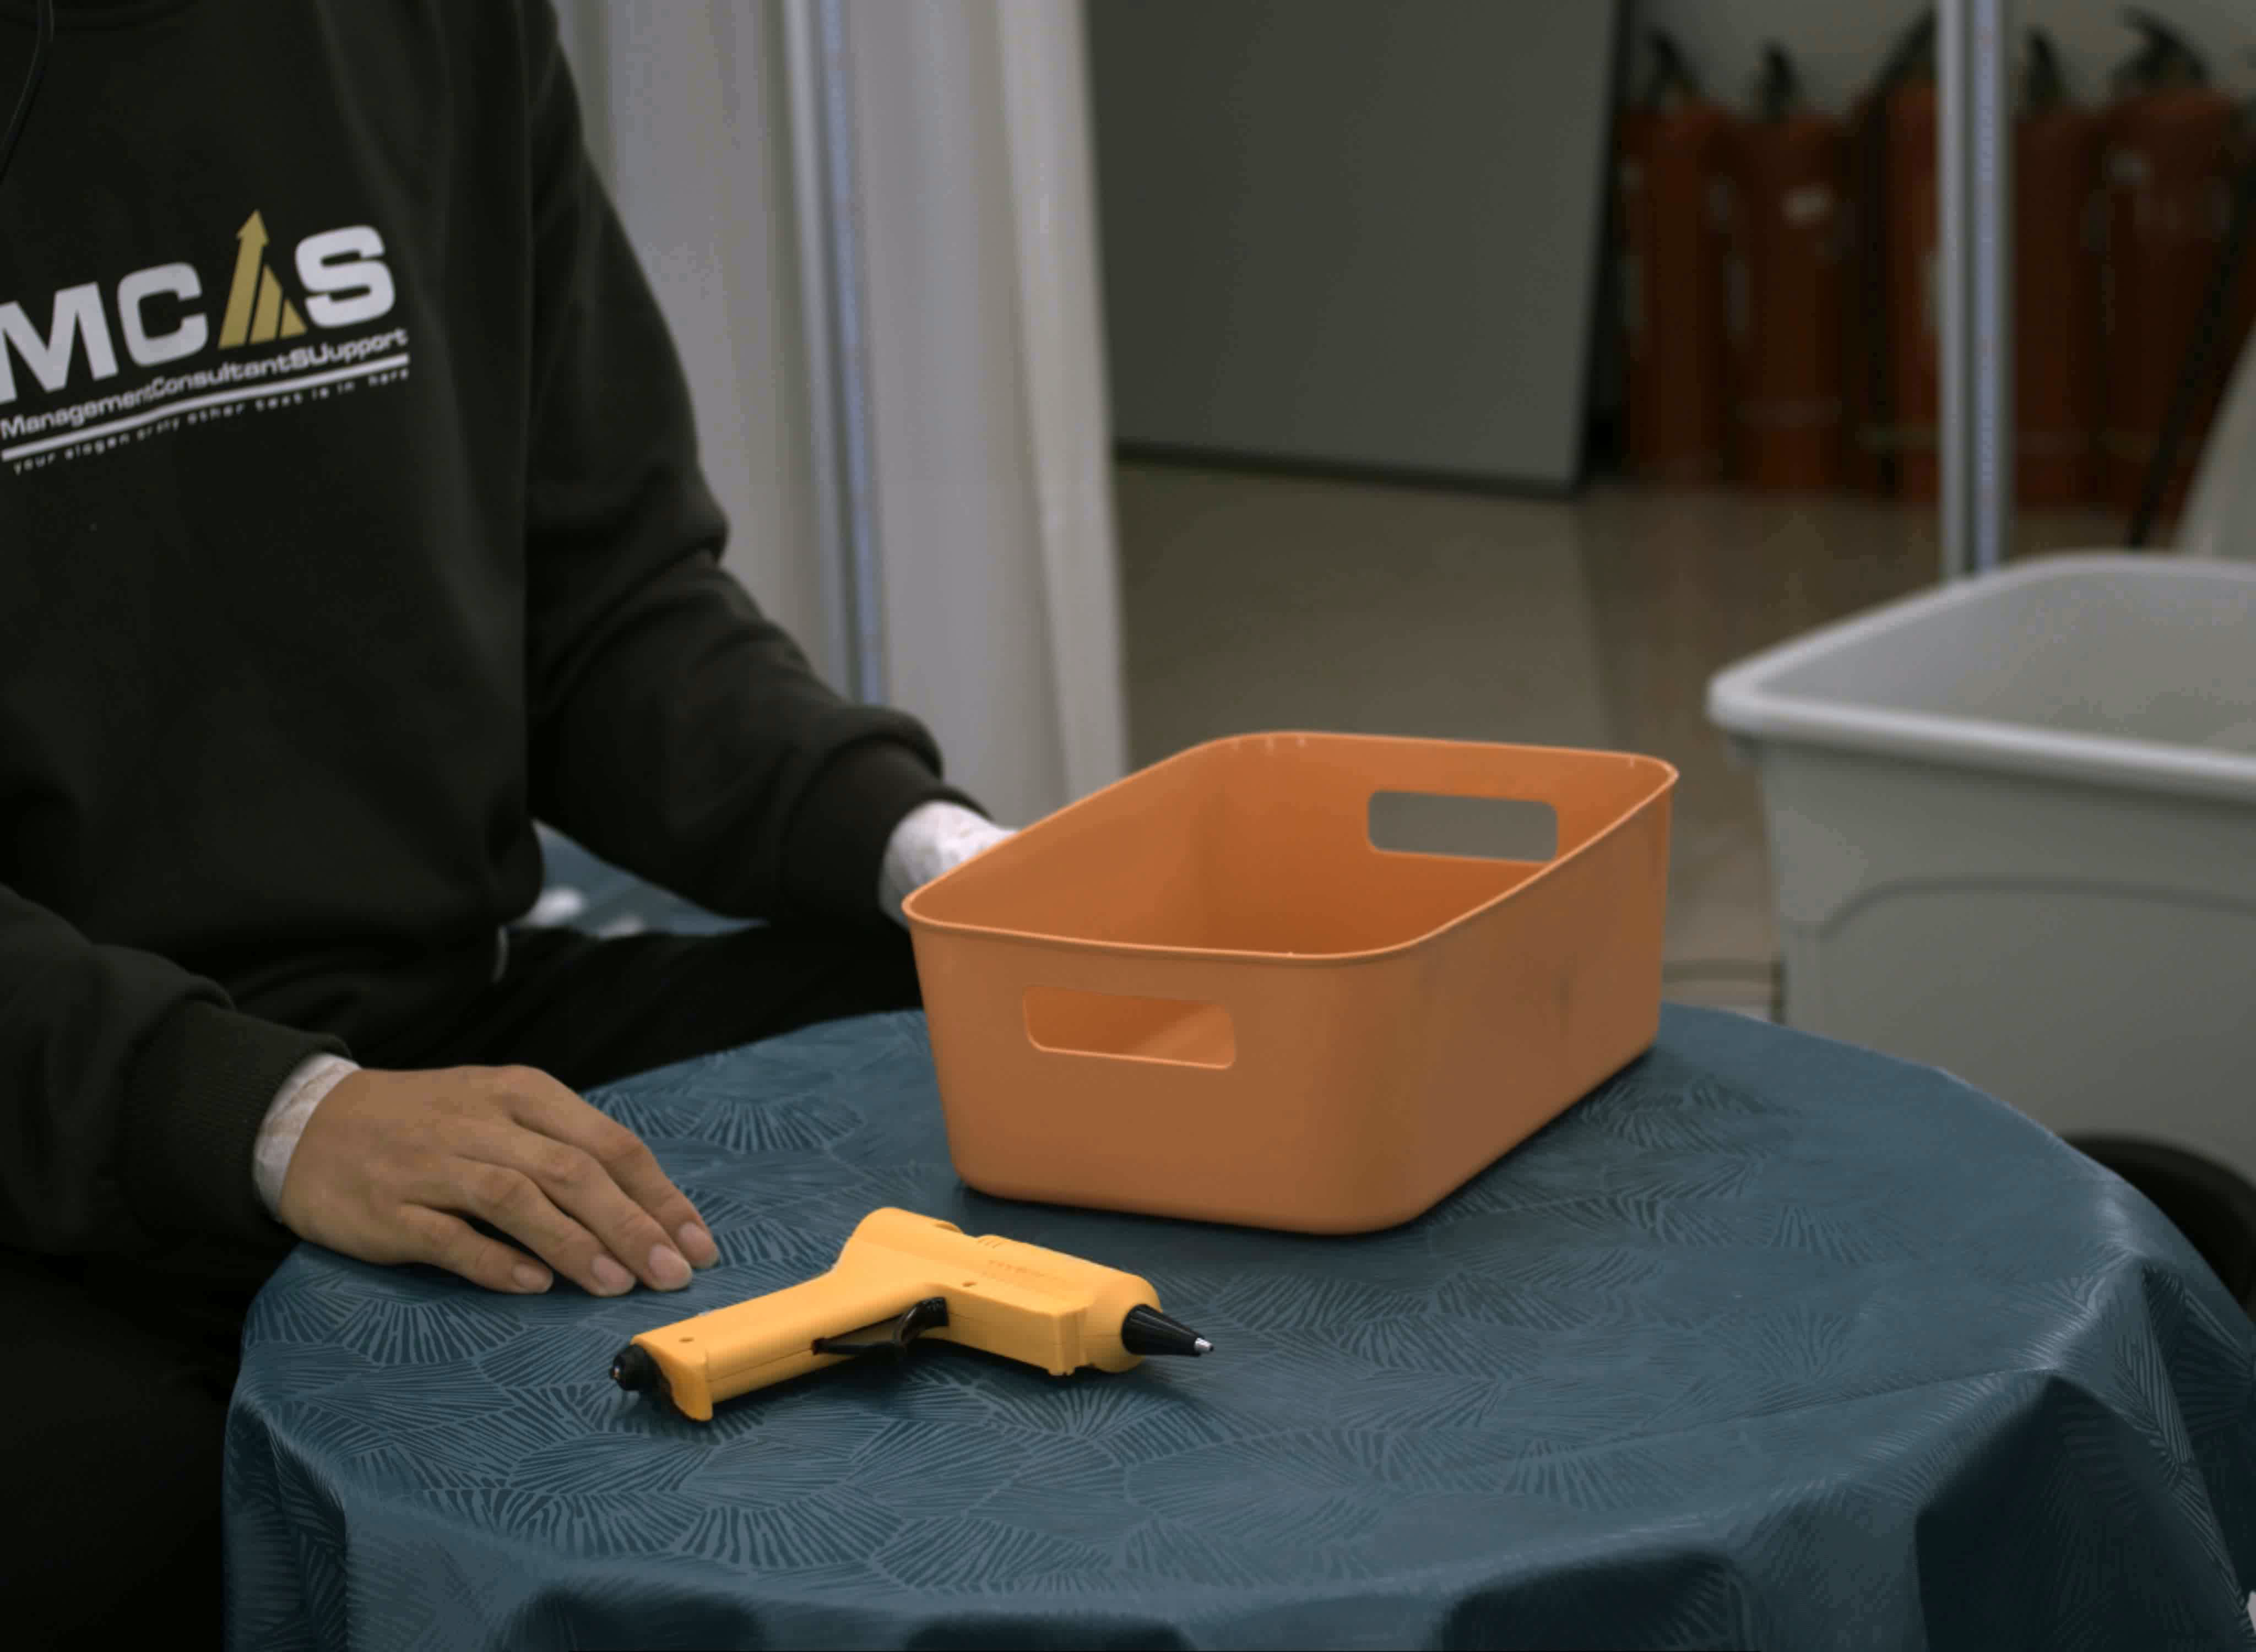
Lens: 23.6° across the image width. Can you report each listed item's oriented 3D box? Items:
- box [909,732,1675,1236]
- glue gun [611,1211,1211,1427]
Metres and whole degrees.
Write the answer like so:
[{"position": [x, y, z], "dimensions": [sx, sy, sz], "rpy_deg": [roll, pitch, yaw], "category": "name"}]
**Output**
[{"position": [0.061, 0.051, 1.832], "dimensions": [0.200, 0.103, 0.269], "rpy_deg": [3, 16, 28], "category": "box"}, {"position": [-0.057, 0.156, 1.603], "dimensions": [0.152, 0.031, 0.130], "rpy_deg": [9, 21, 41], "category": "glue gun"}]
